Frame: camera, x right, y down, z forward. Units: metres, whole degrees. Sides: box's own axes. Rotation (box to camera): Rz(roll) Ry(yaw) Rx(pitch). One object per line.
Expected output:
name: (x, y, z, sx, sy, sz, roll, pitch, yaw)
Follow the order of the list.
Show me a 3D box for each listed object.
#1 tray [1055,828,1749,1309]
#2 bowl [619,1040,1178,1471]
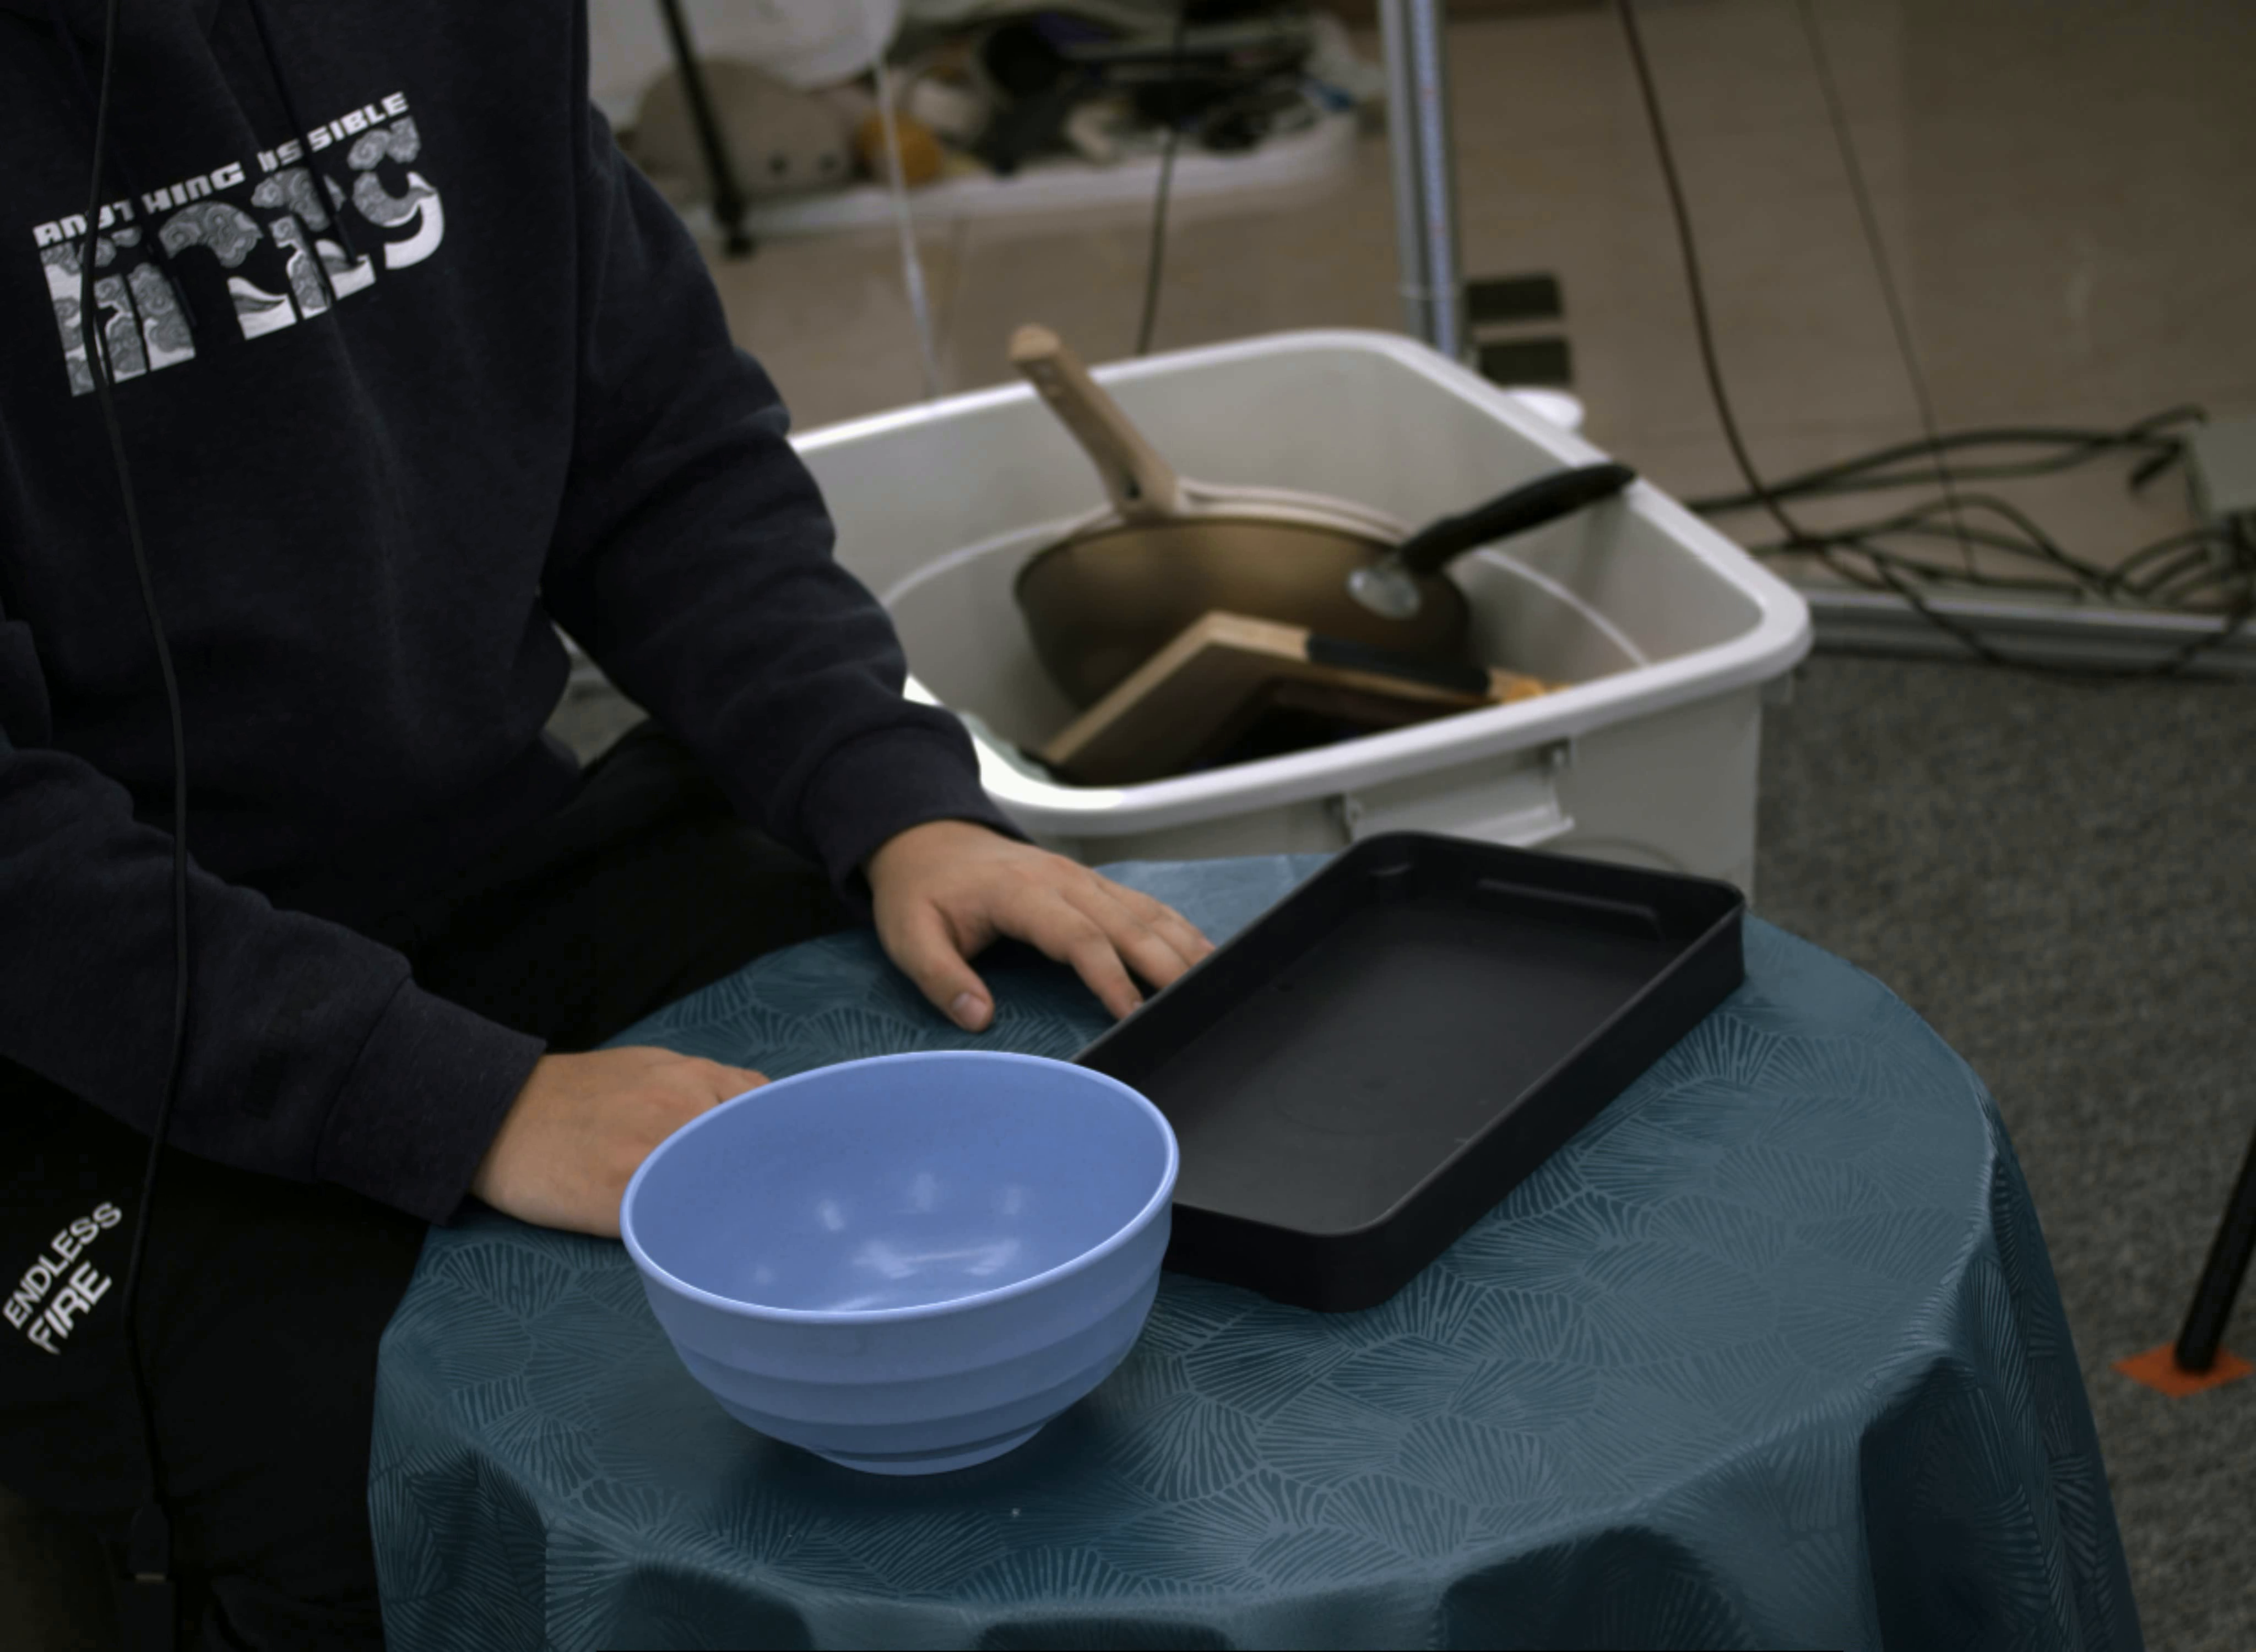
tray: (0.094, 0.088, 2.191, 0.183, 0.037, 0.314, 10, 29, 33)
bowl: (-0.075, 0.162, 1.995, 0.196, 0.097, 0.193, -6, 27, 3)
